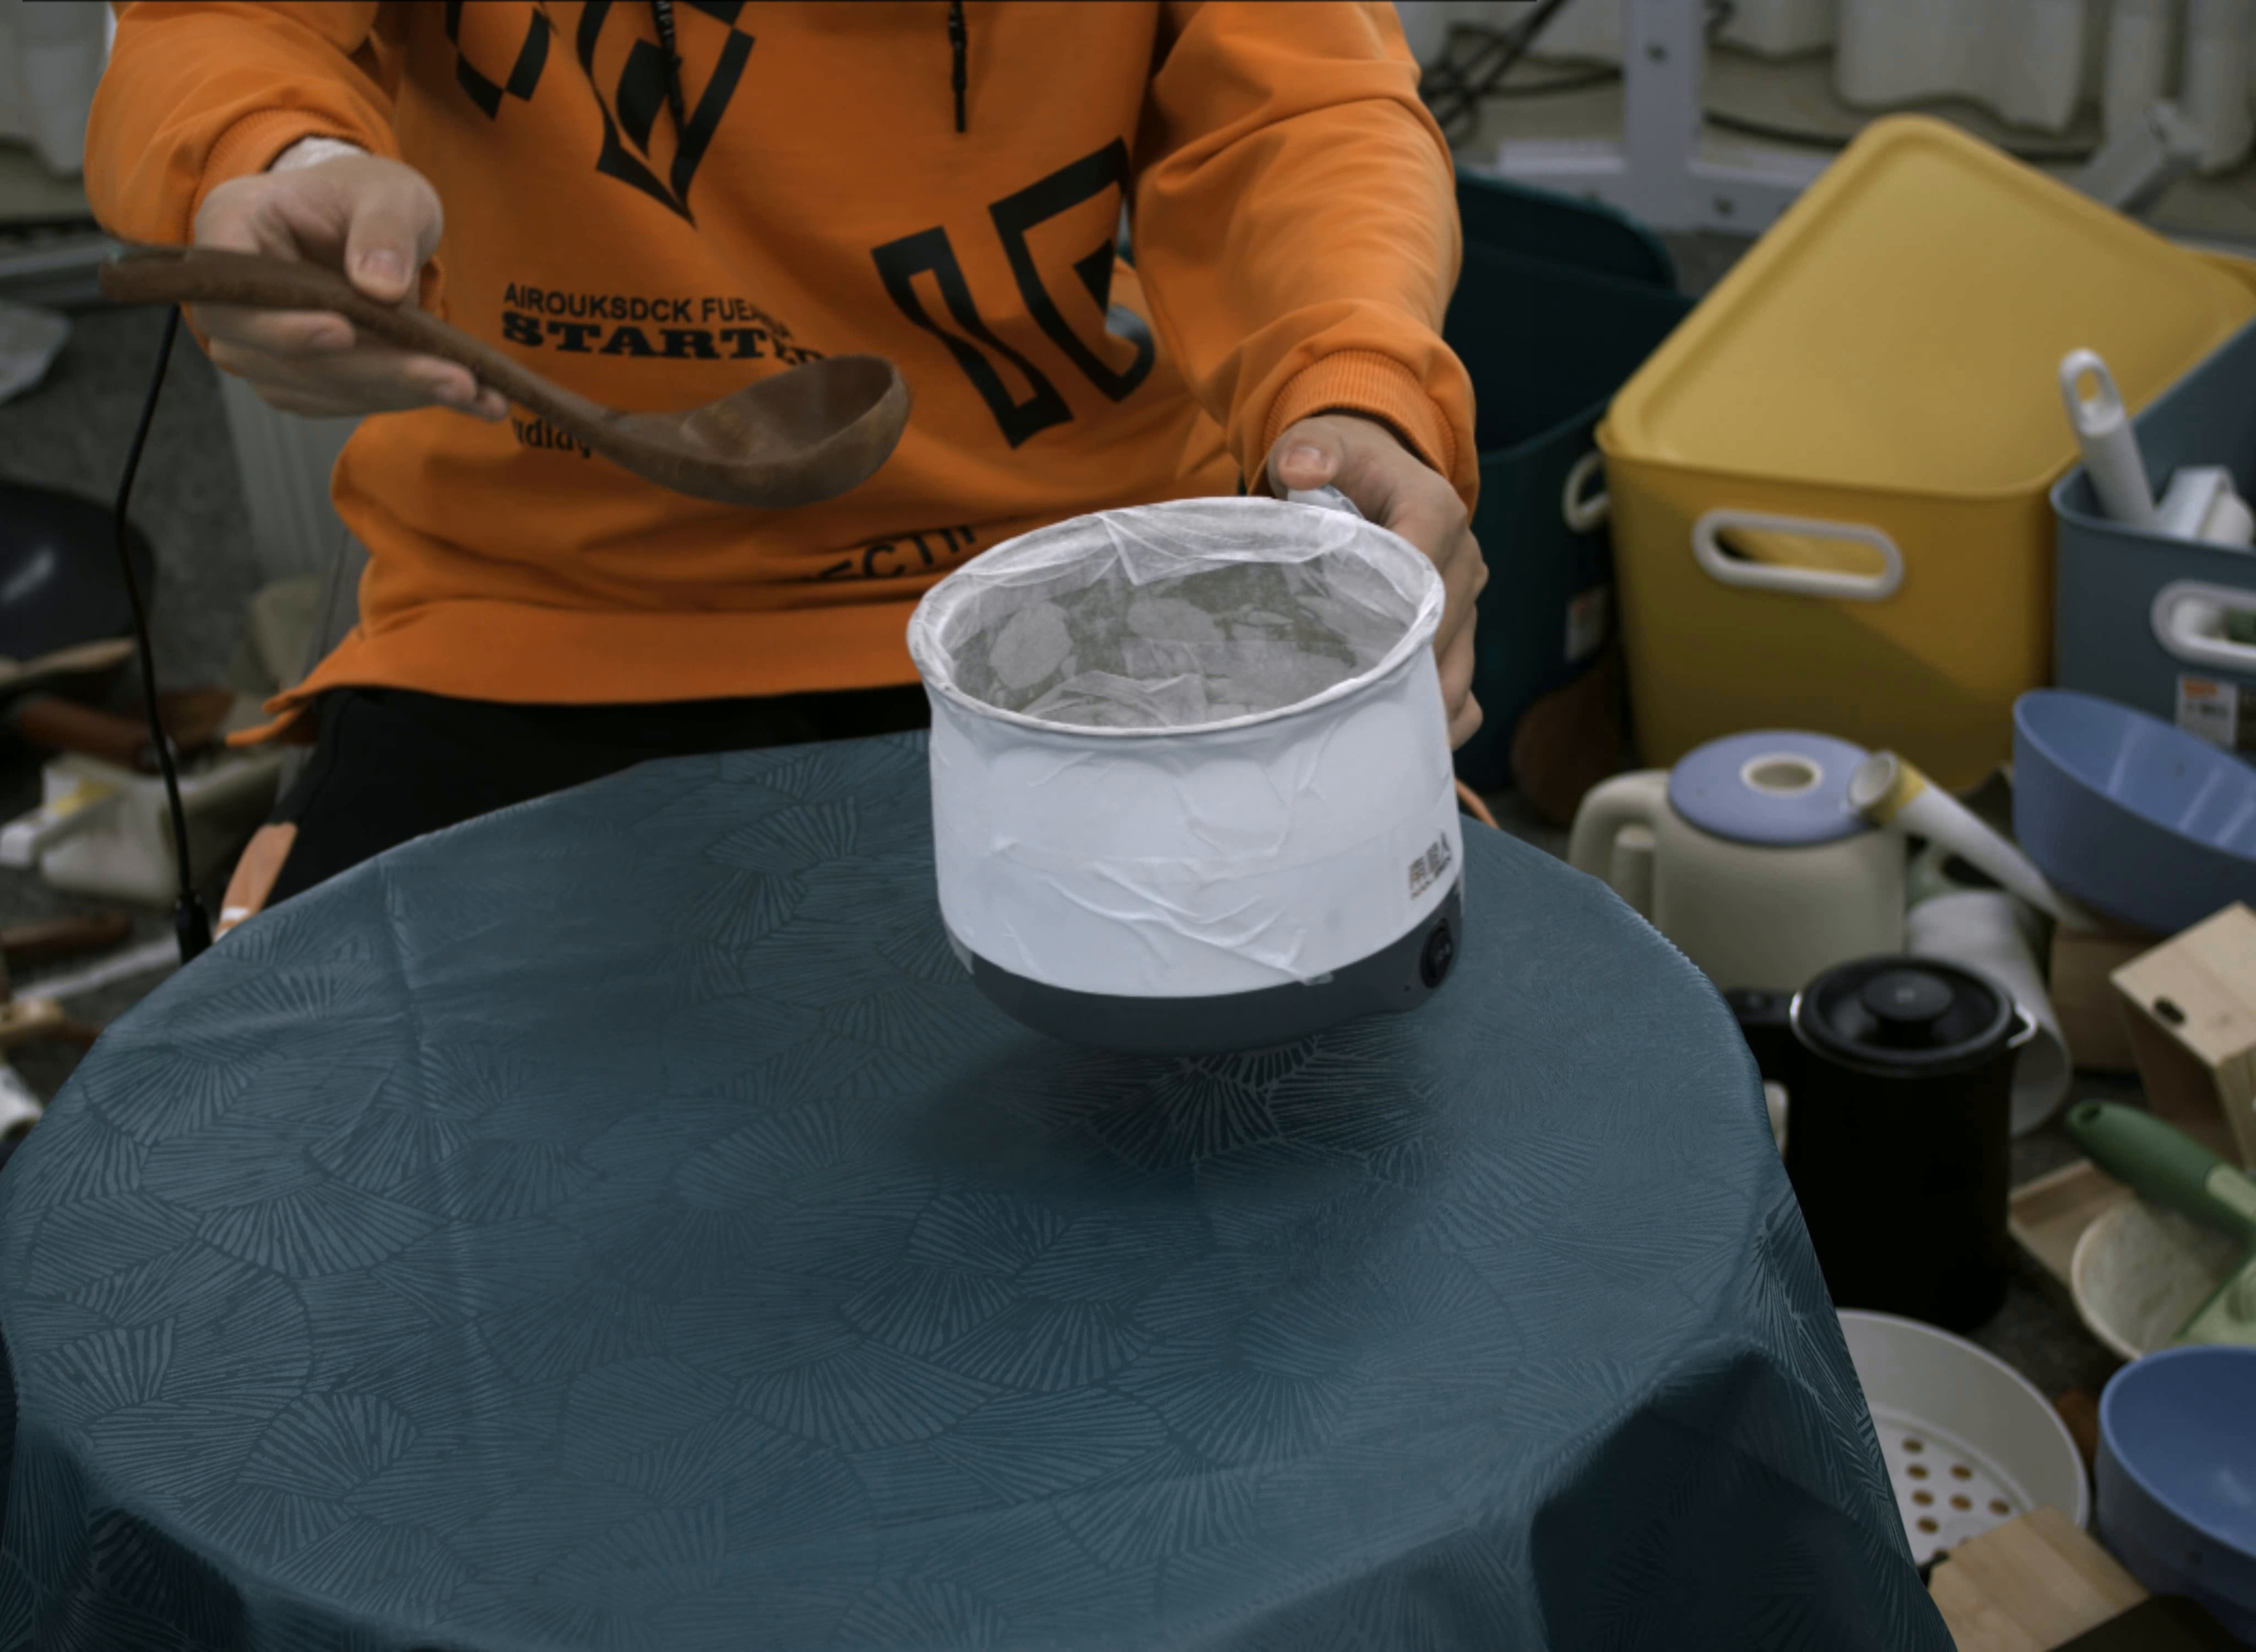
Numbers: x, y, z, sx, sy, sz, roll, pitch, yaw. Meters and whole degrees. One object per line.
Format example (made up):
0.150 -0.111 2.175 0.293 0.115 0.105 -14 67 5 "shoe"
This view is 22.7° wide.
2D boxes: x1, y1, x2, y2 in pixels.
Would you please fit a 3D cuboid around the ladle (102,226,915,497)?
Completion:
-0.194 -0.162 1.795 0.259 0.065 0.077 19 14 -16 "ladle"

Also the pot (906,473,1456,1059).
0.032 -0.028 1.893 0.177 0.135 0.237 9 30 26 "pot"
